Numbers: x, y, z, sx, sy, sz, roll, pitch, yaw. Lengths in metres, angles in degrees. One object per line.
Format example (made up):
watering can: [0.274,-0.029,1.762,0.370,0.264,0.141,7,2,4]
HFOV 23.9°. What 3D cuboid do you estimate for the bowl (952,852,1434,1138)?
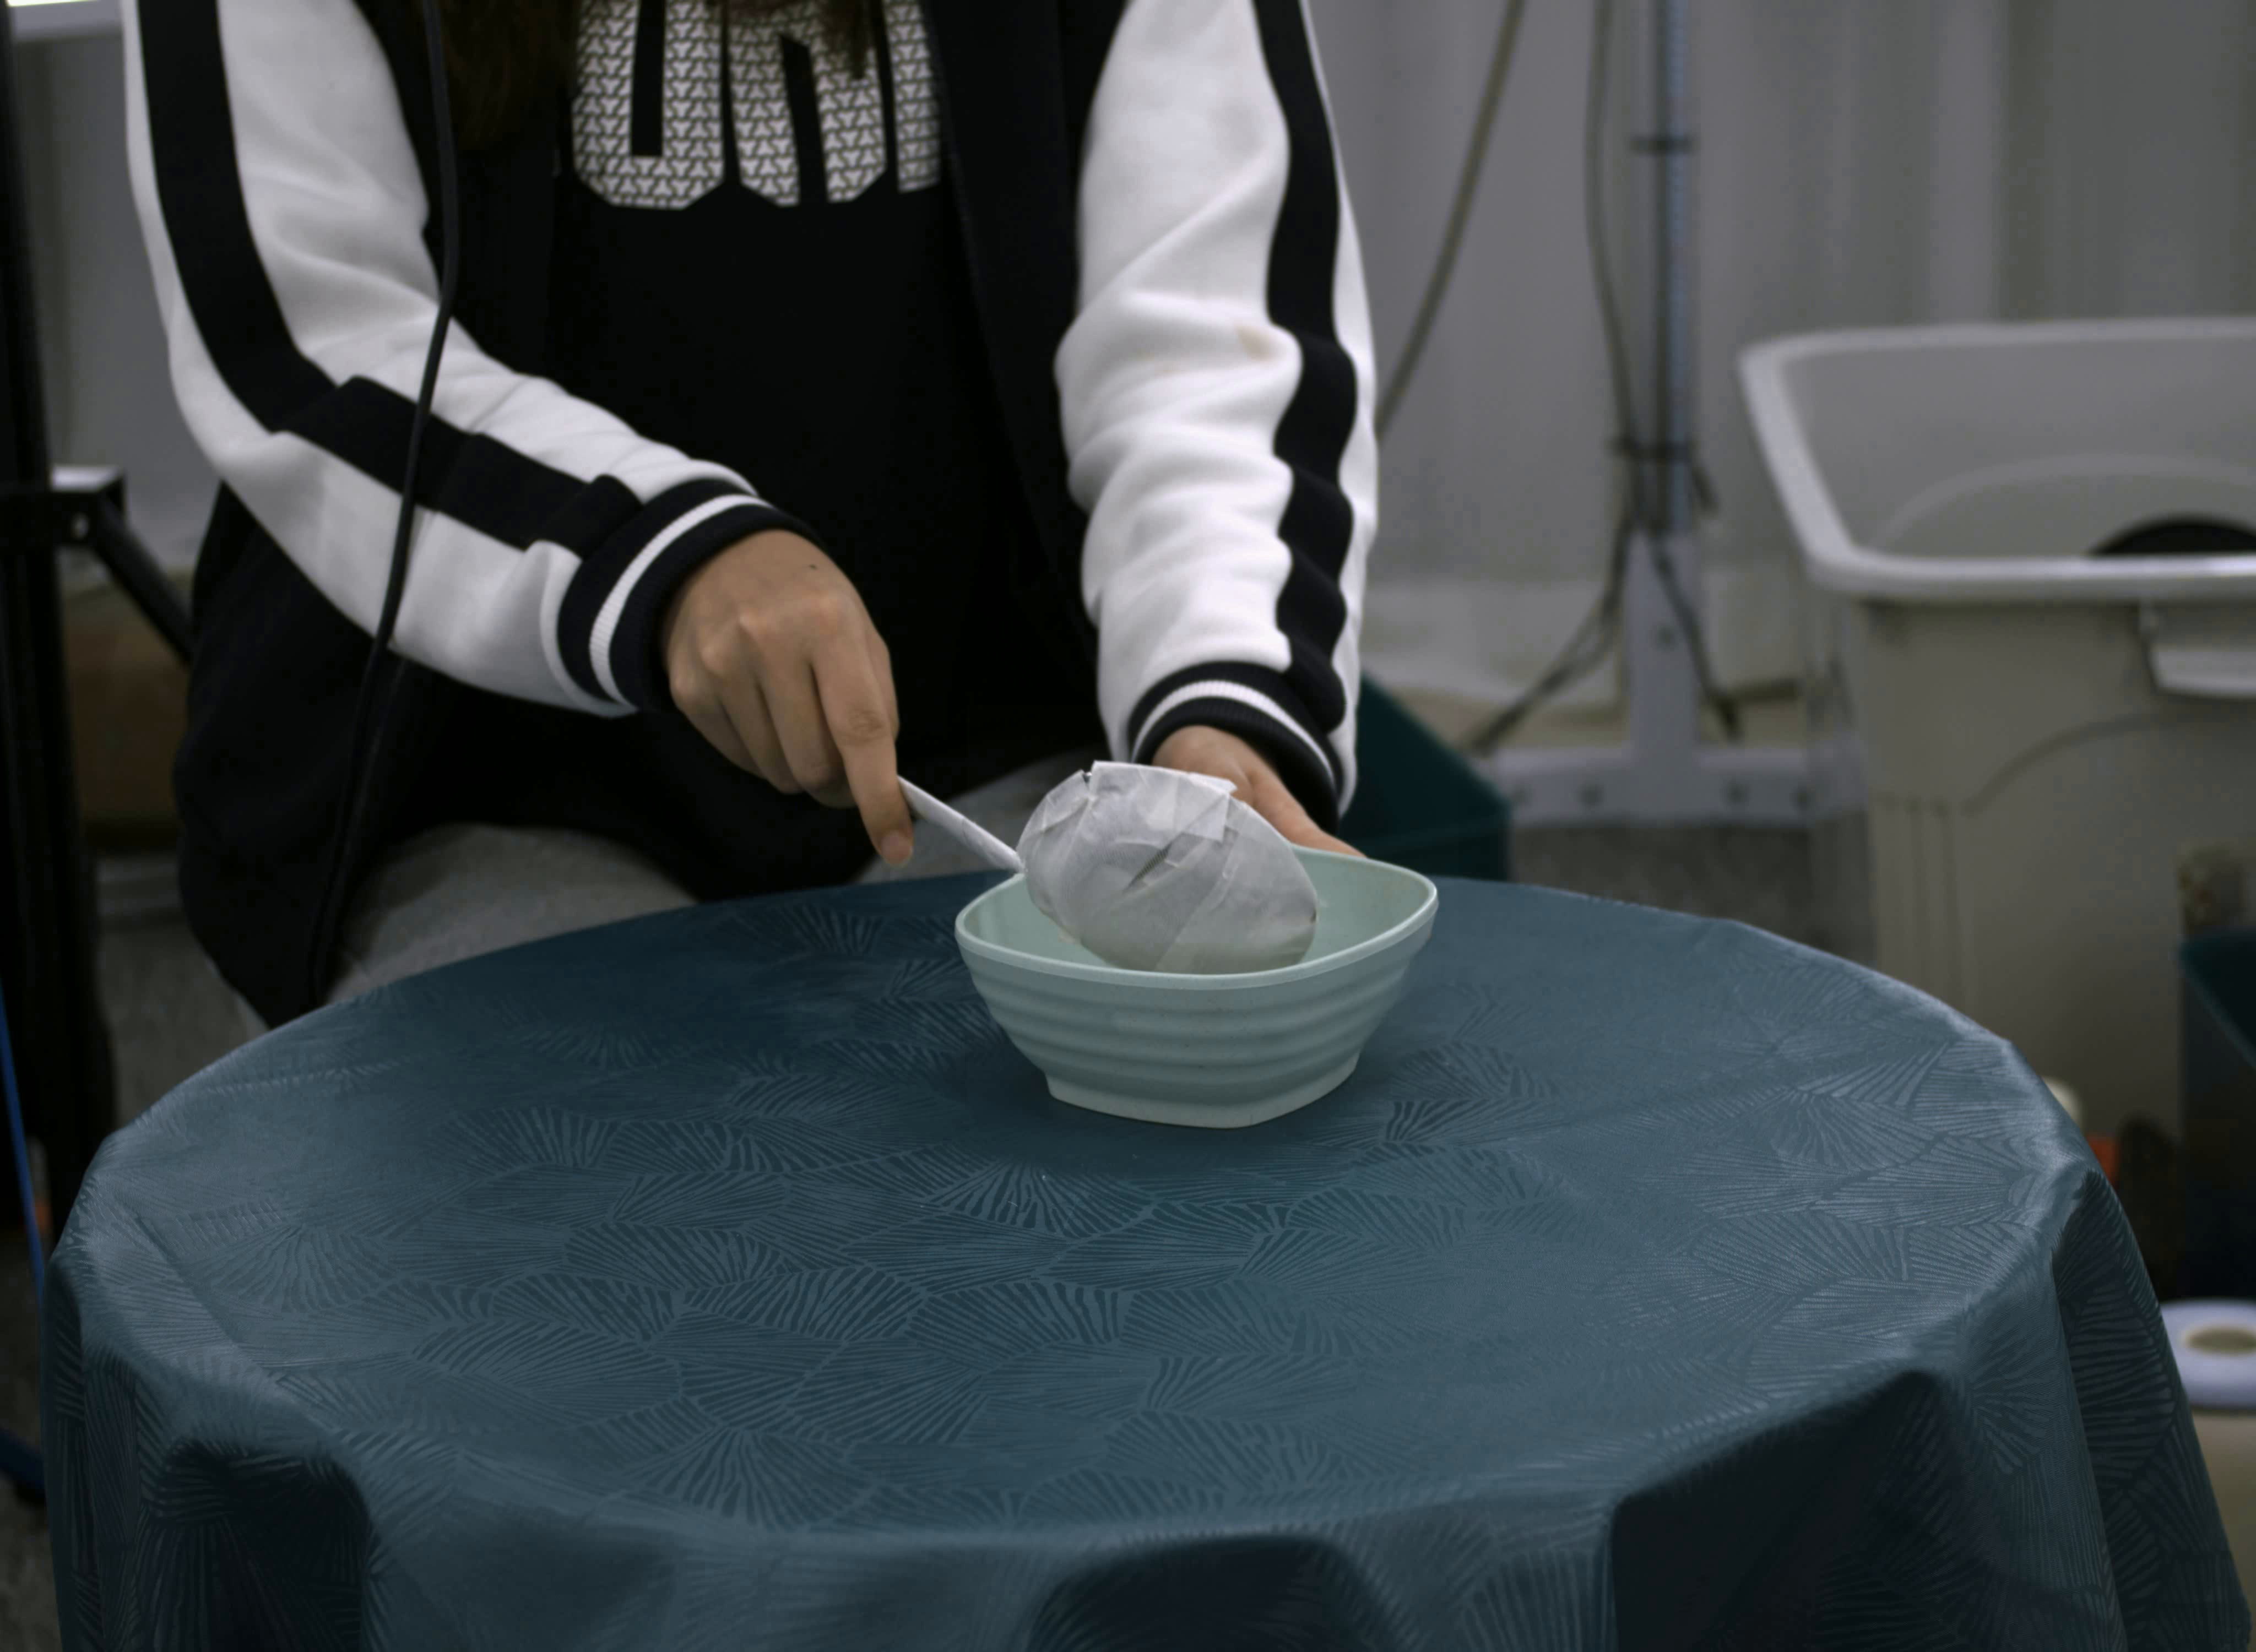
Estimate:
bowl: [0.021,0.054,1.648,0.150,0.058,0.152,-2,16,-1]

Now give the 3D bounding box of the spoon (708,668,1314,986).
spoon: [-0.042,-0.014,1.697,0.058,0.099,0.284,-32,33,-20]
